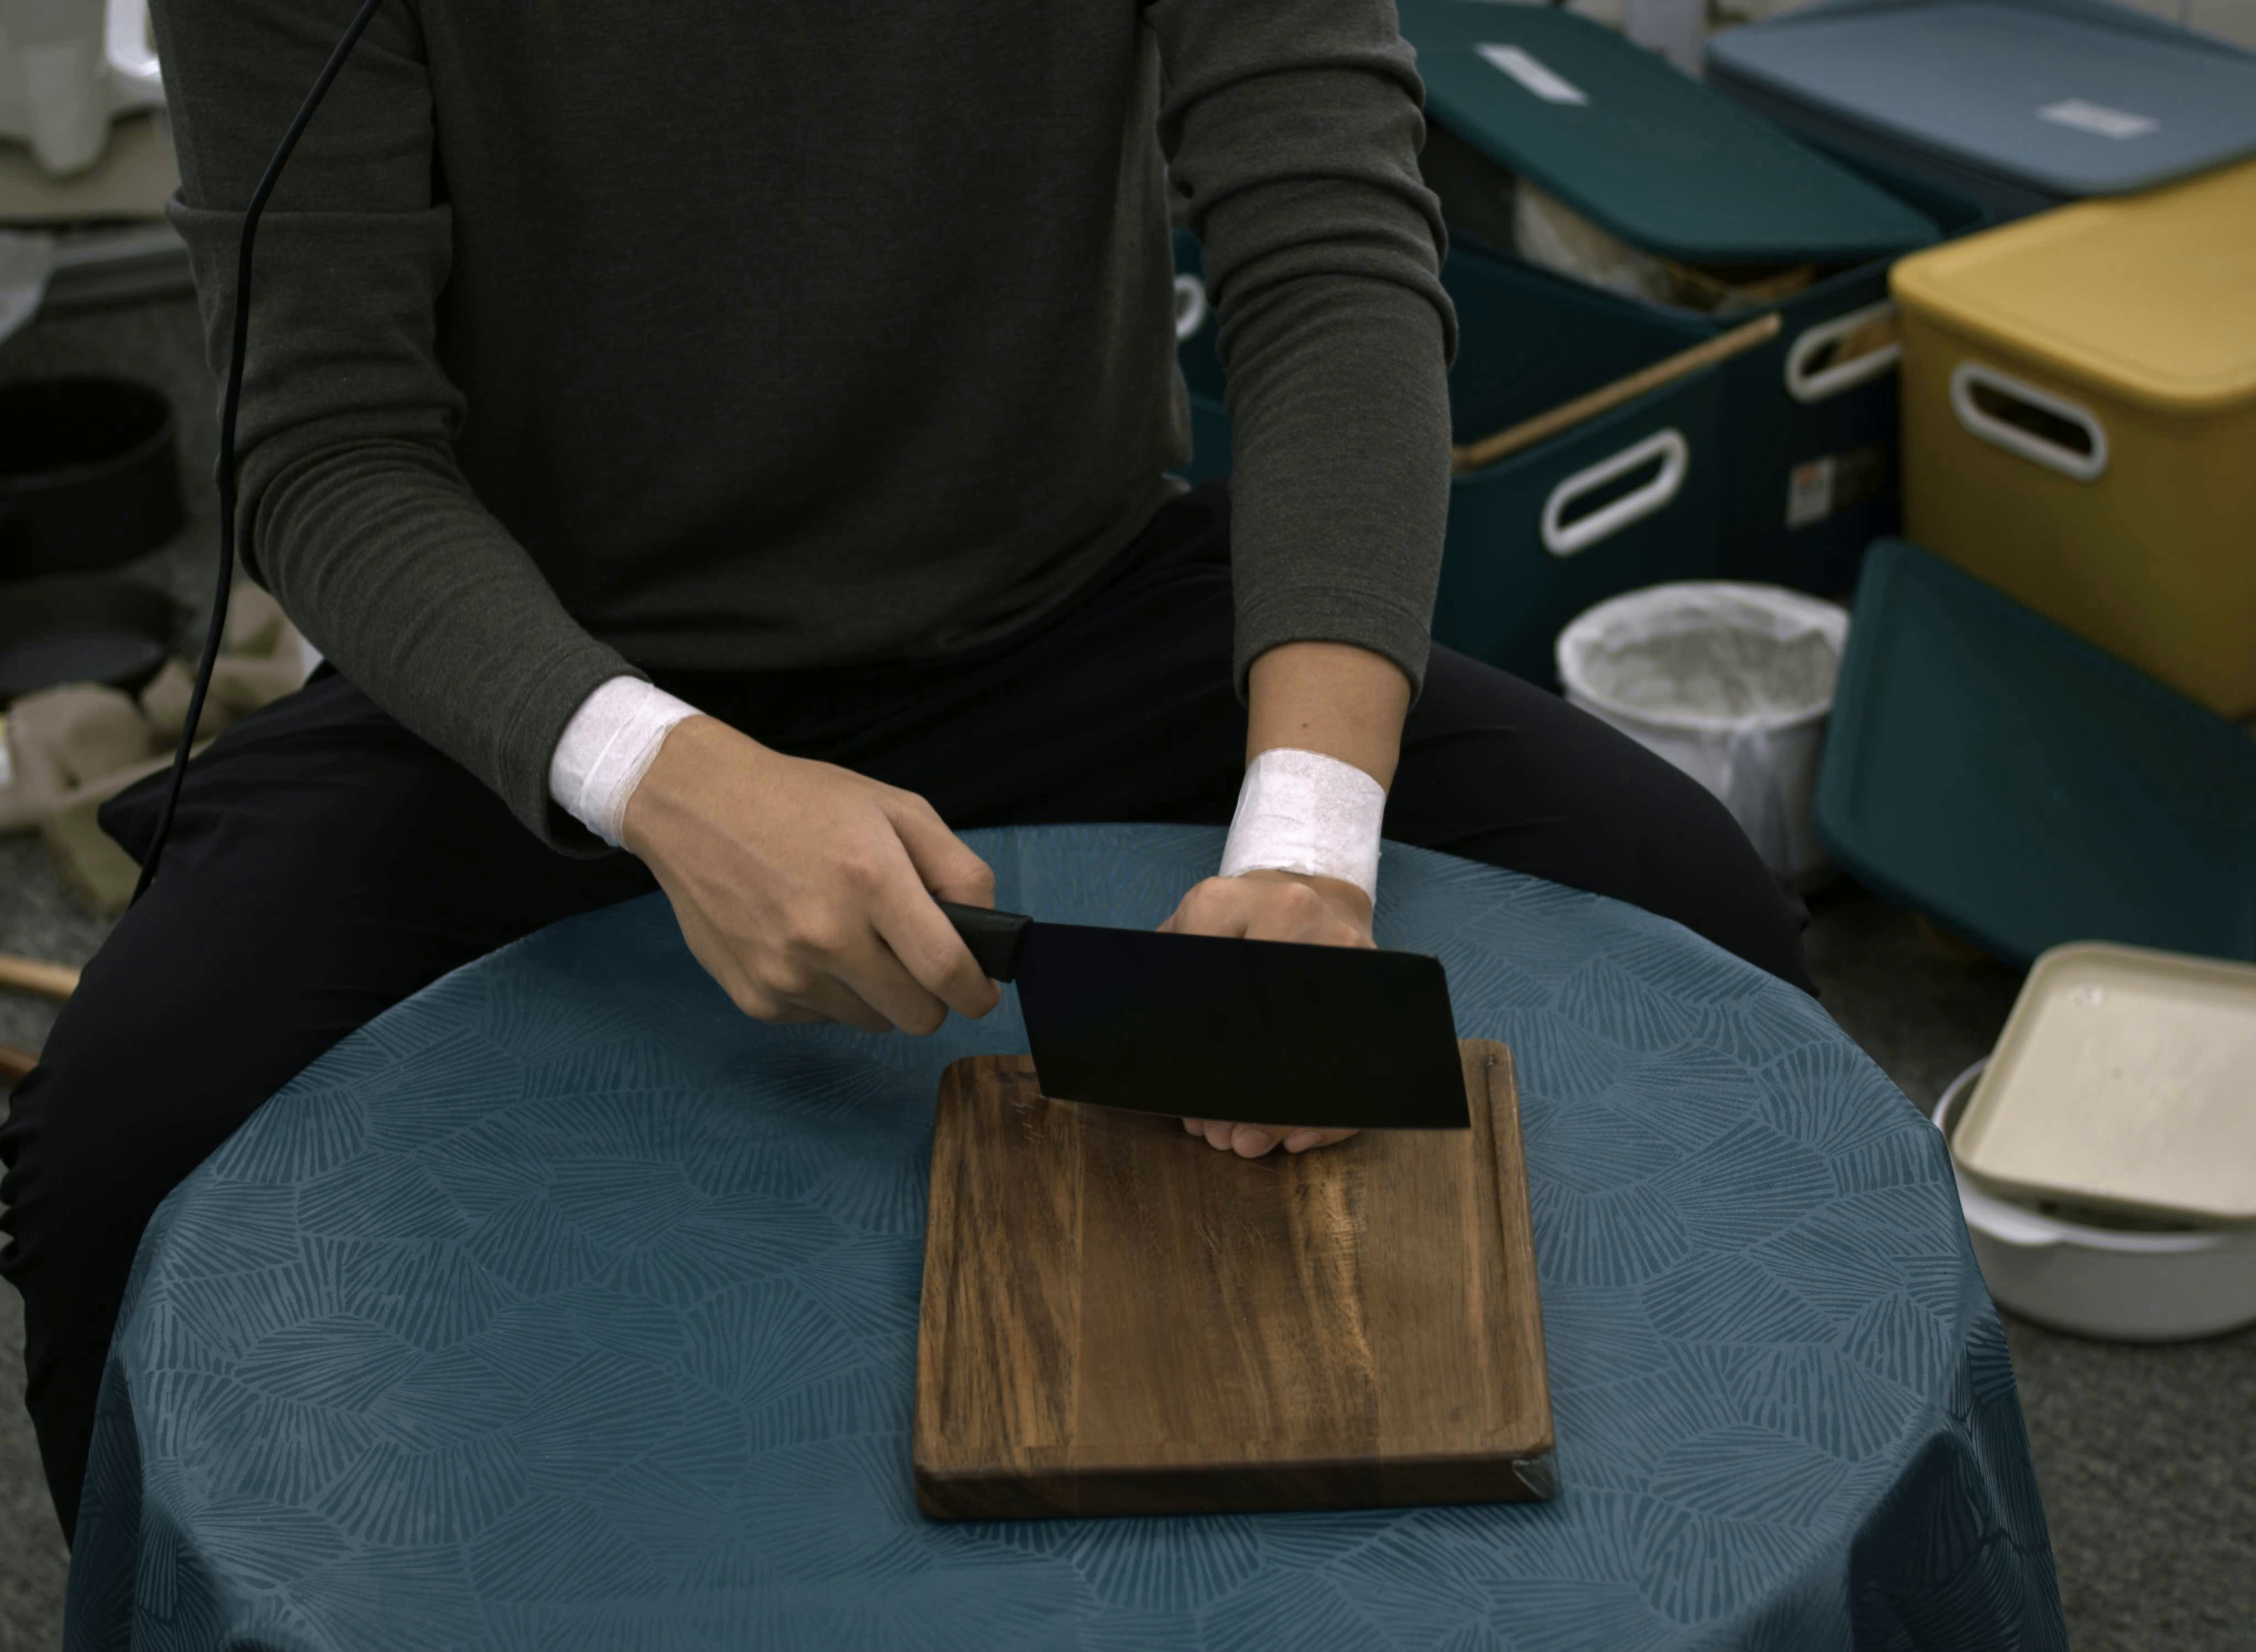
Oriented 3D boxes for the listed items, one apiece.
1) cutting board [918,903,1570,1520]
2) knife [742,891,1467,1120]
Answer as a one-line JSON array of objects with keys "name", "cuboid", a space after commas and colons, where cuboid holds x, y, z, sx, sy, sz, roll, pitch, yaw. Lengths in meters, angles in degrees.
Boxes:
[{"name": "cutting board", "cuboid": [0.033, 0.117, 1.843, 0.200, 0.023, 0.357, -2, 27, 1]}, {"name": "knife", "cuboid": [-0.013, 0.058, 1.859, 0.300, 0.080, 0.021, 8, 24, 38]}]
